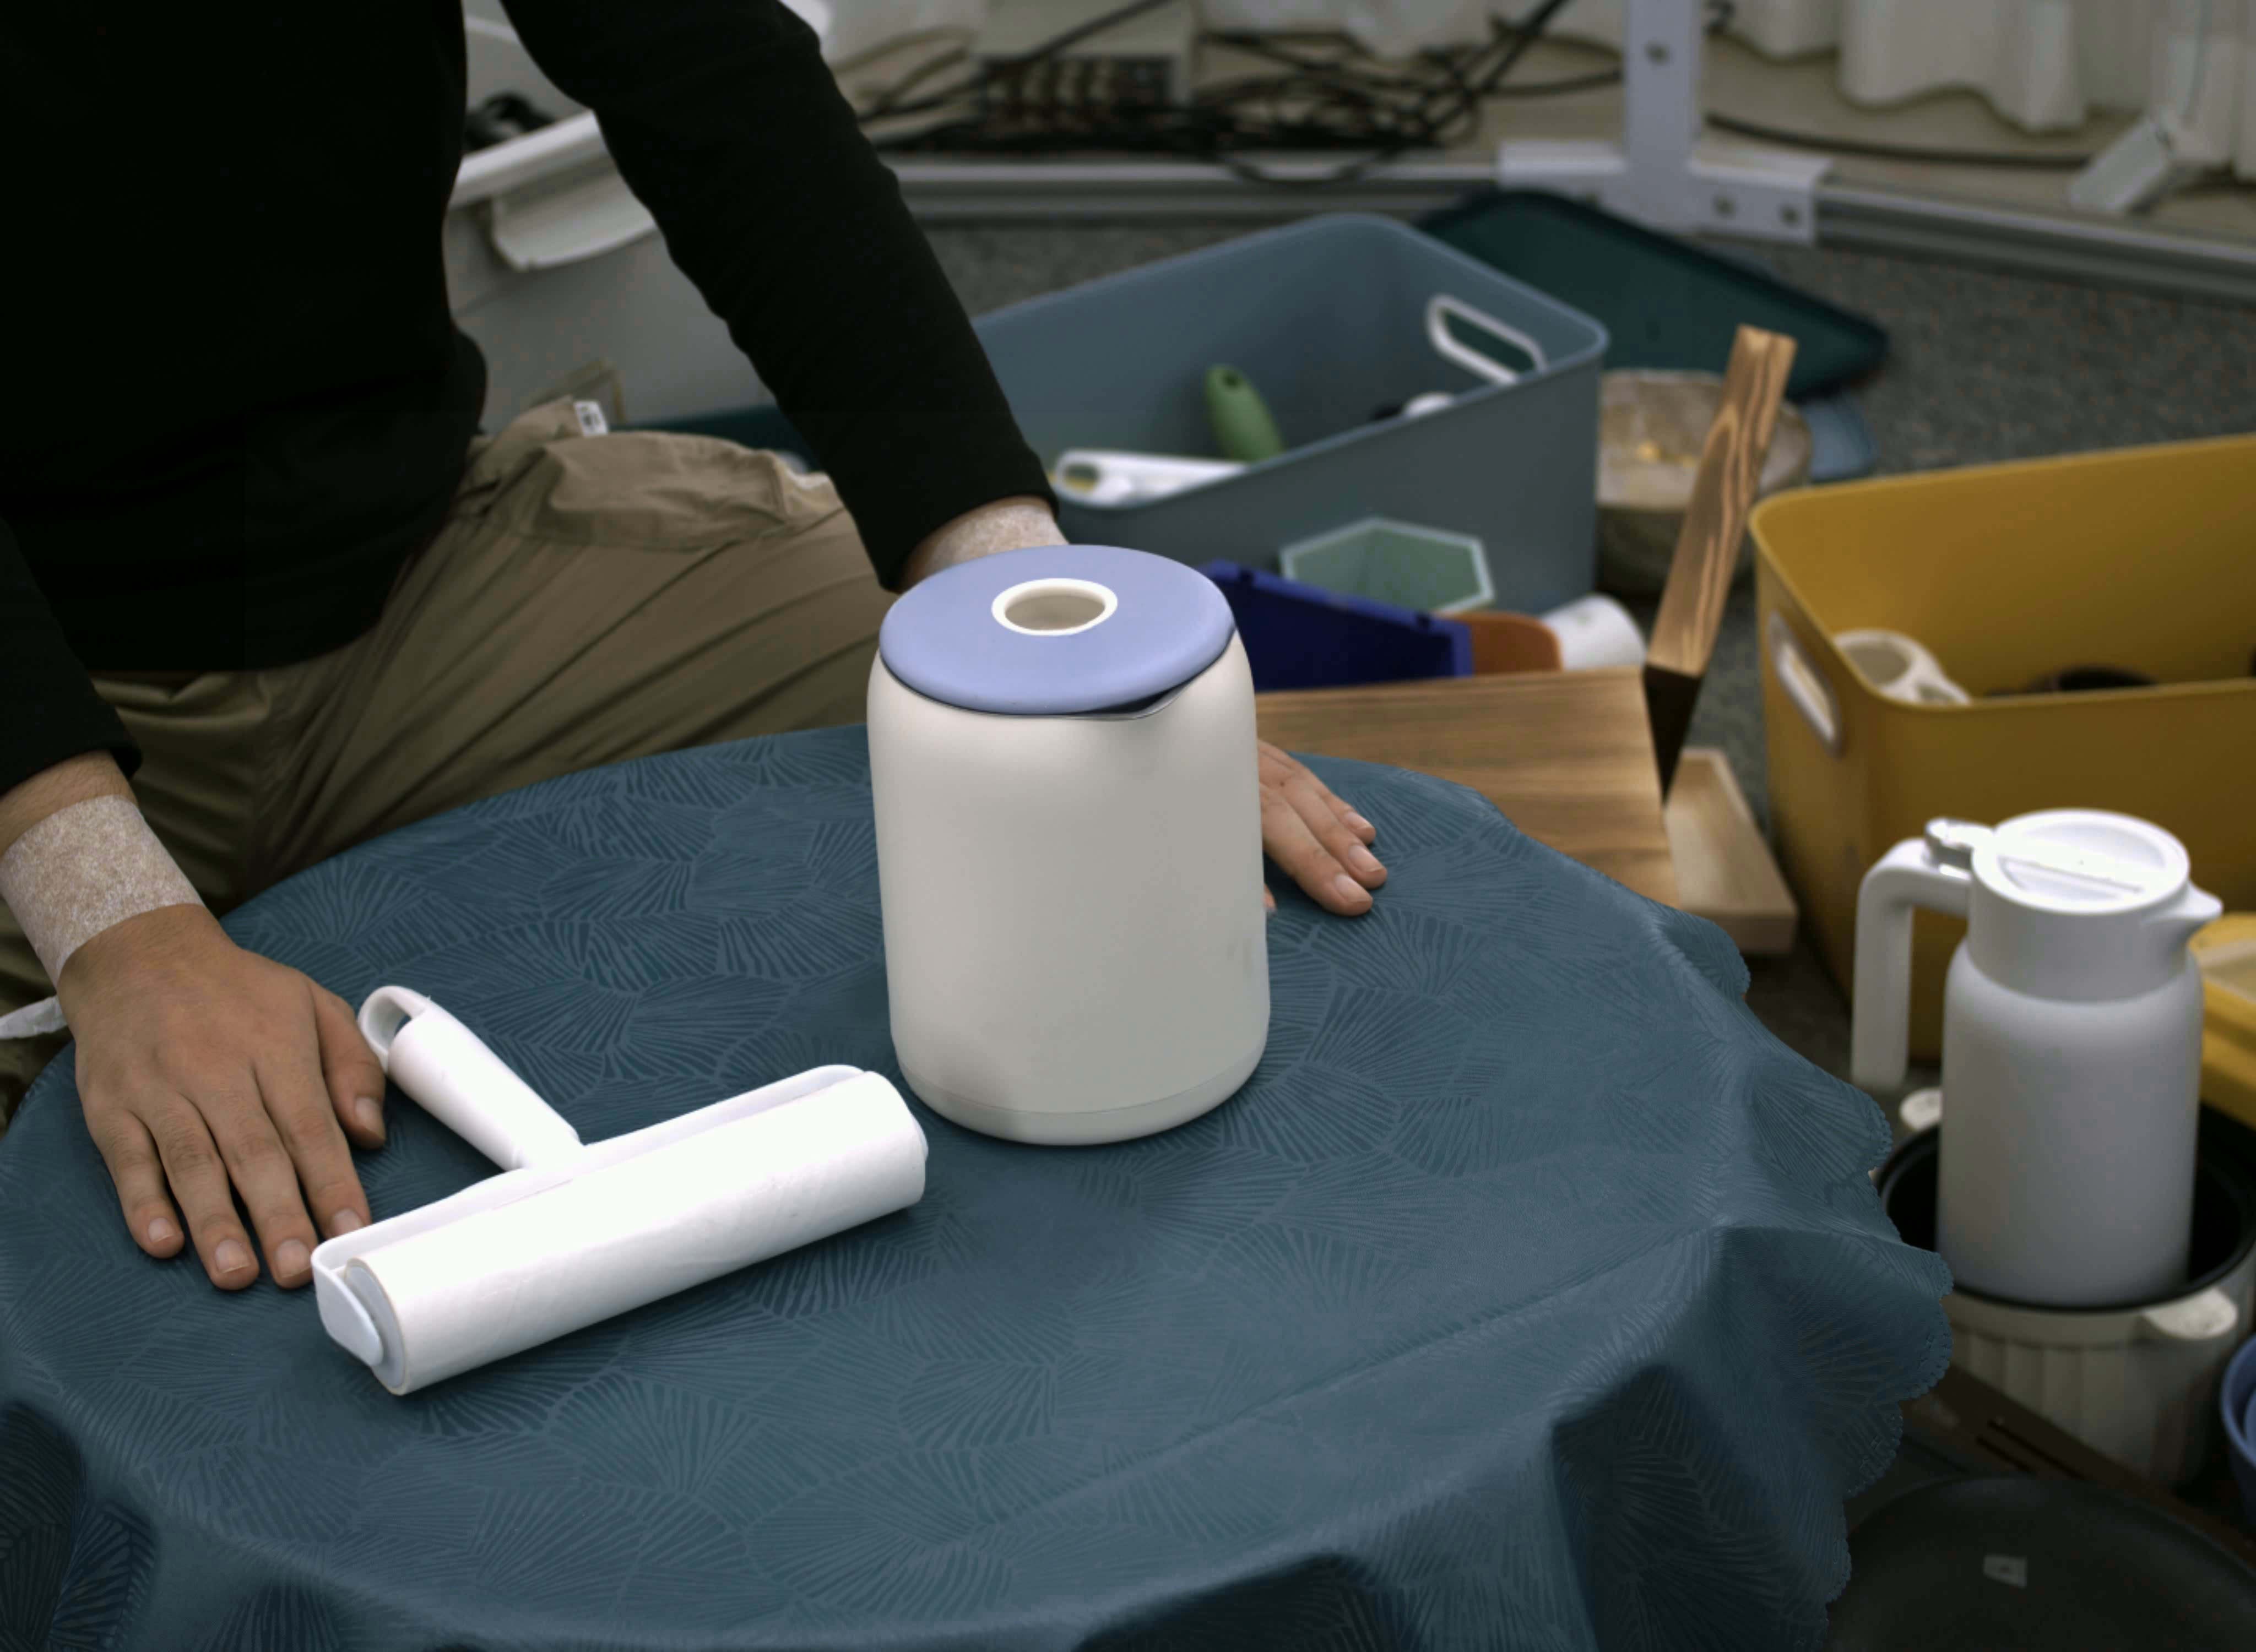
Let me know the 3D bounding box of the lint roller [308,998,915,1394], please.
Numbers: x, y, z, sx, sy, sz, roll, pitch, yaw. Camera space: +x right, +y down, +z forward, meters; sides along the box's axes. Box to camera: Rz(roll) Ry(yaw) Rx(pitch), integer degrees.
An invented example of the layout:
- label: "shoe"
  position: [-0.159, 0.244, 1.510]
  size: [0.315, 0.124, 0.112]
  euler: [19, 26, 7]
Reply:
- label: "lint roller"
  position: [-0.207, 0.099, 1.880]
  size: [0.204, 0.048, 0.226]
  euler: [-20, 31, -27]

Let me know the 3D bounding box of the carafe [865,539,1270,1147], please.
- label: "carafe"
  position: [-0.031, -0.004, 1.923]
  size: [0.133, 0.181, 0.192]
  euler: [-15, 27, -23]
